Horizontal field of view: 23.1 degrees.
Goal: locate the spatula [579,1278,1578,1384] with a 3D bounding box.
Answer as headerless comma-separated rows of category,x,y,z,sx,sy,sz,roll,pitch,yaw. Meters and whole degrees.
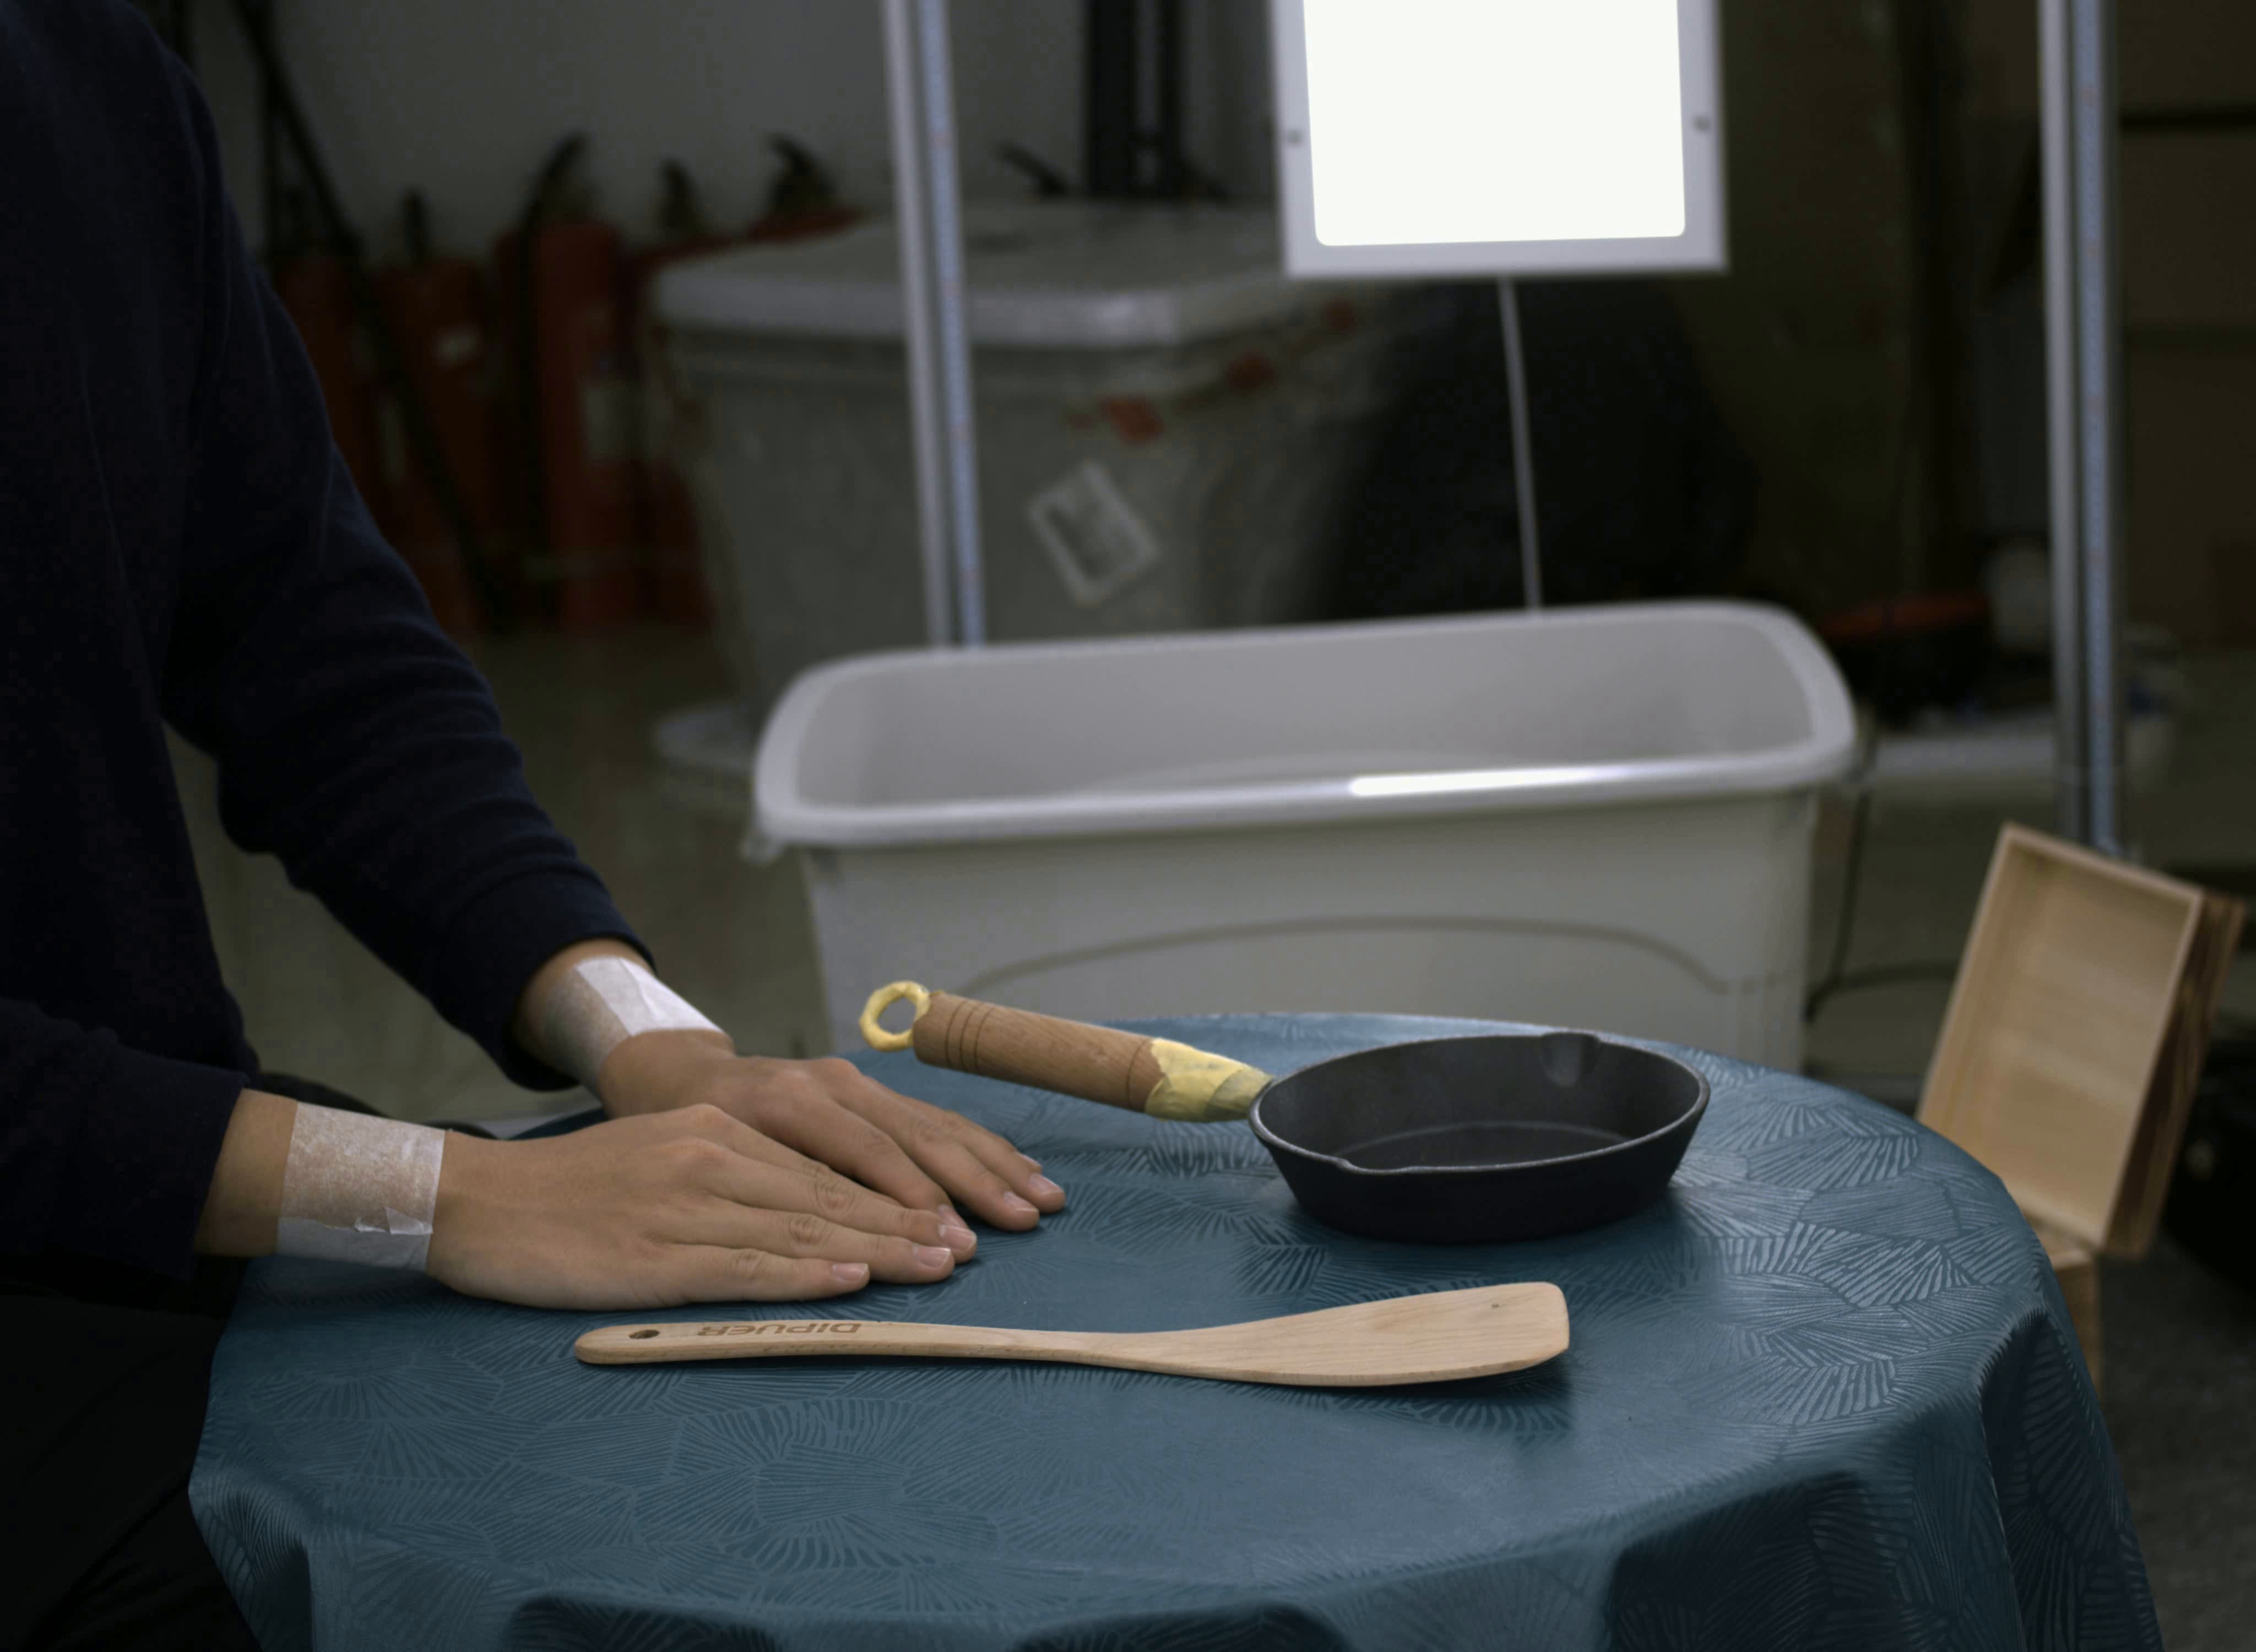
spatula,-0.016,0.159,1.735,0.330,0.016,0.079,-1,13,15

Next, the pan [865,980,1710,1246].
pan,0.048,0.093,1.908,0.330,0.050,0.165,6,17,33
